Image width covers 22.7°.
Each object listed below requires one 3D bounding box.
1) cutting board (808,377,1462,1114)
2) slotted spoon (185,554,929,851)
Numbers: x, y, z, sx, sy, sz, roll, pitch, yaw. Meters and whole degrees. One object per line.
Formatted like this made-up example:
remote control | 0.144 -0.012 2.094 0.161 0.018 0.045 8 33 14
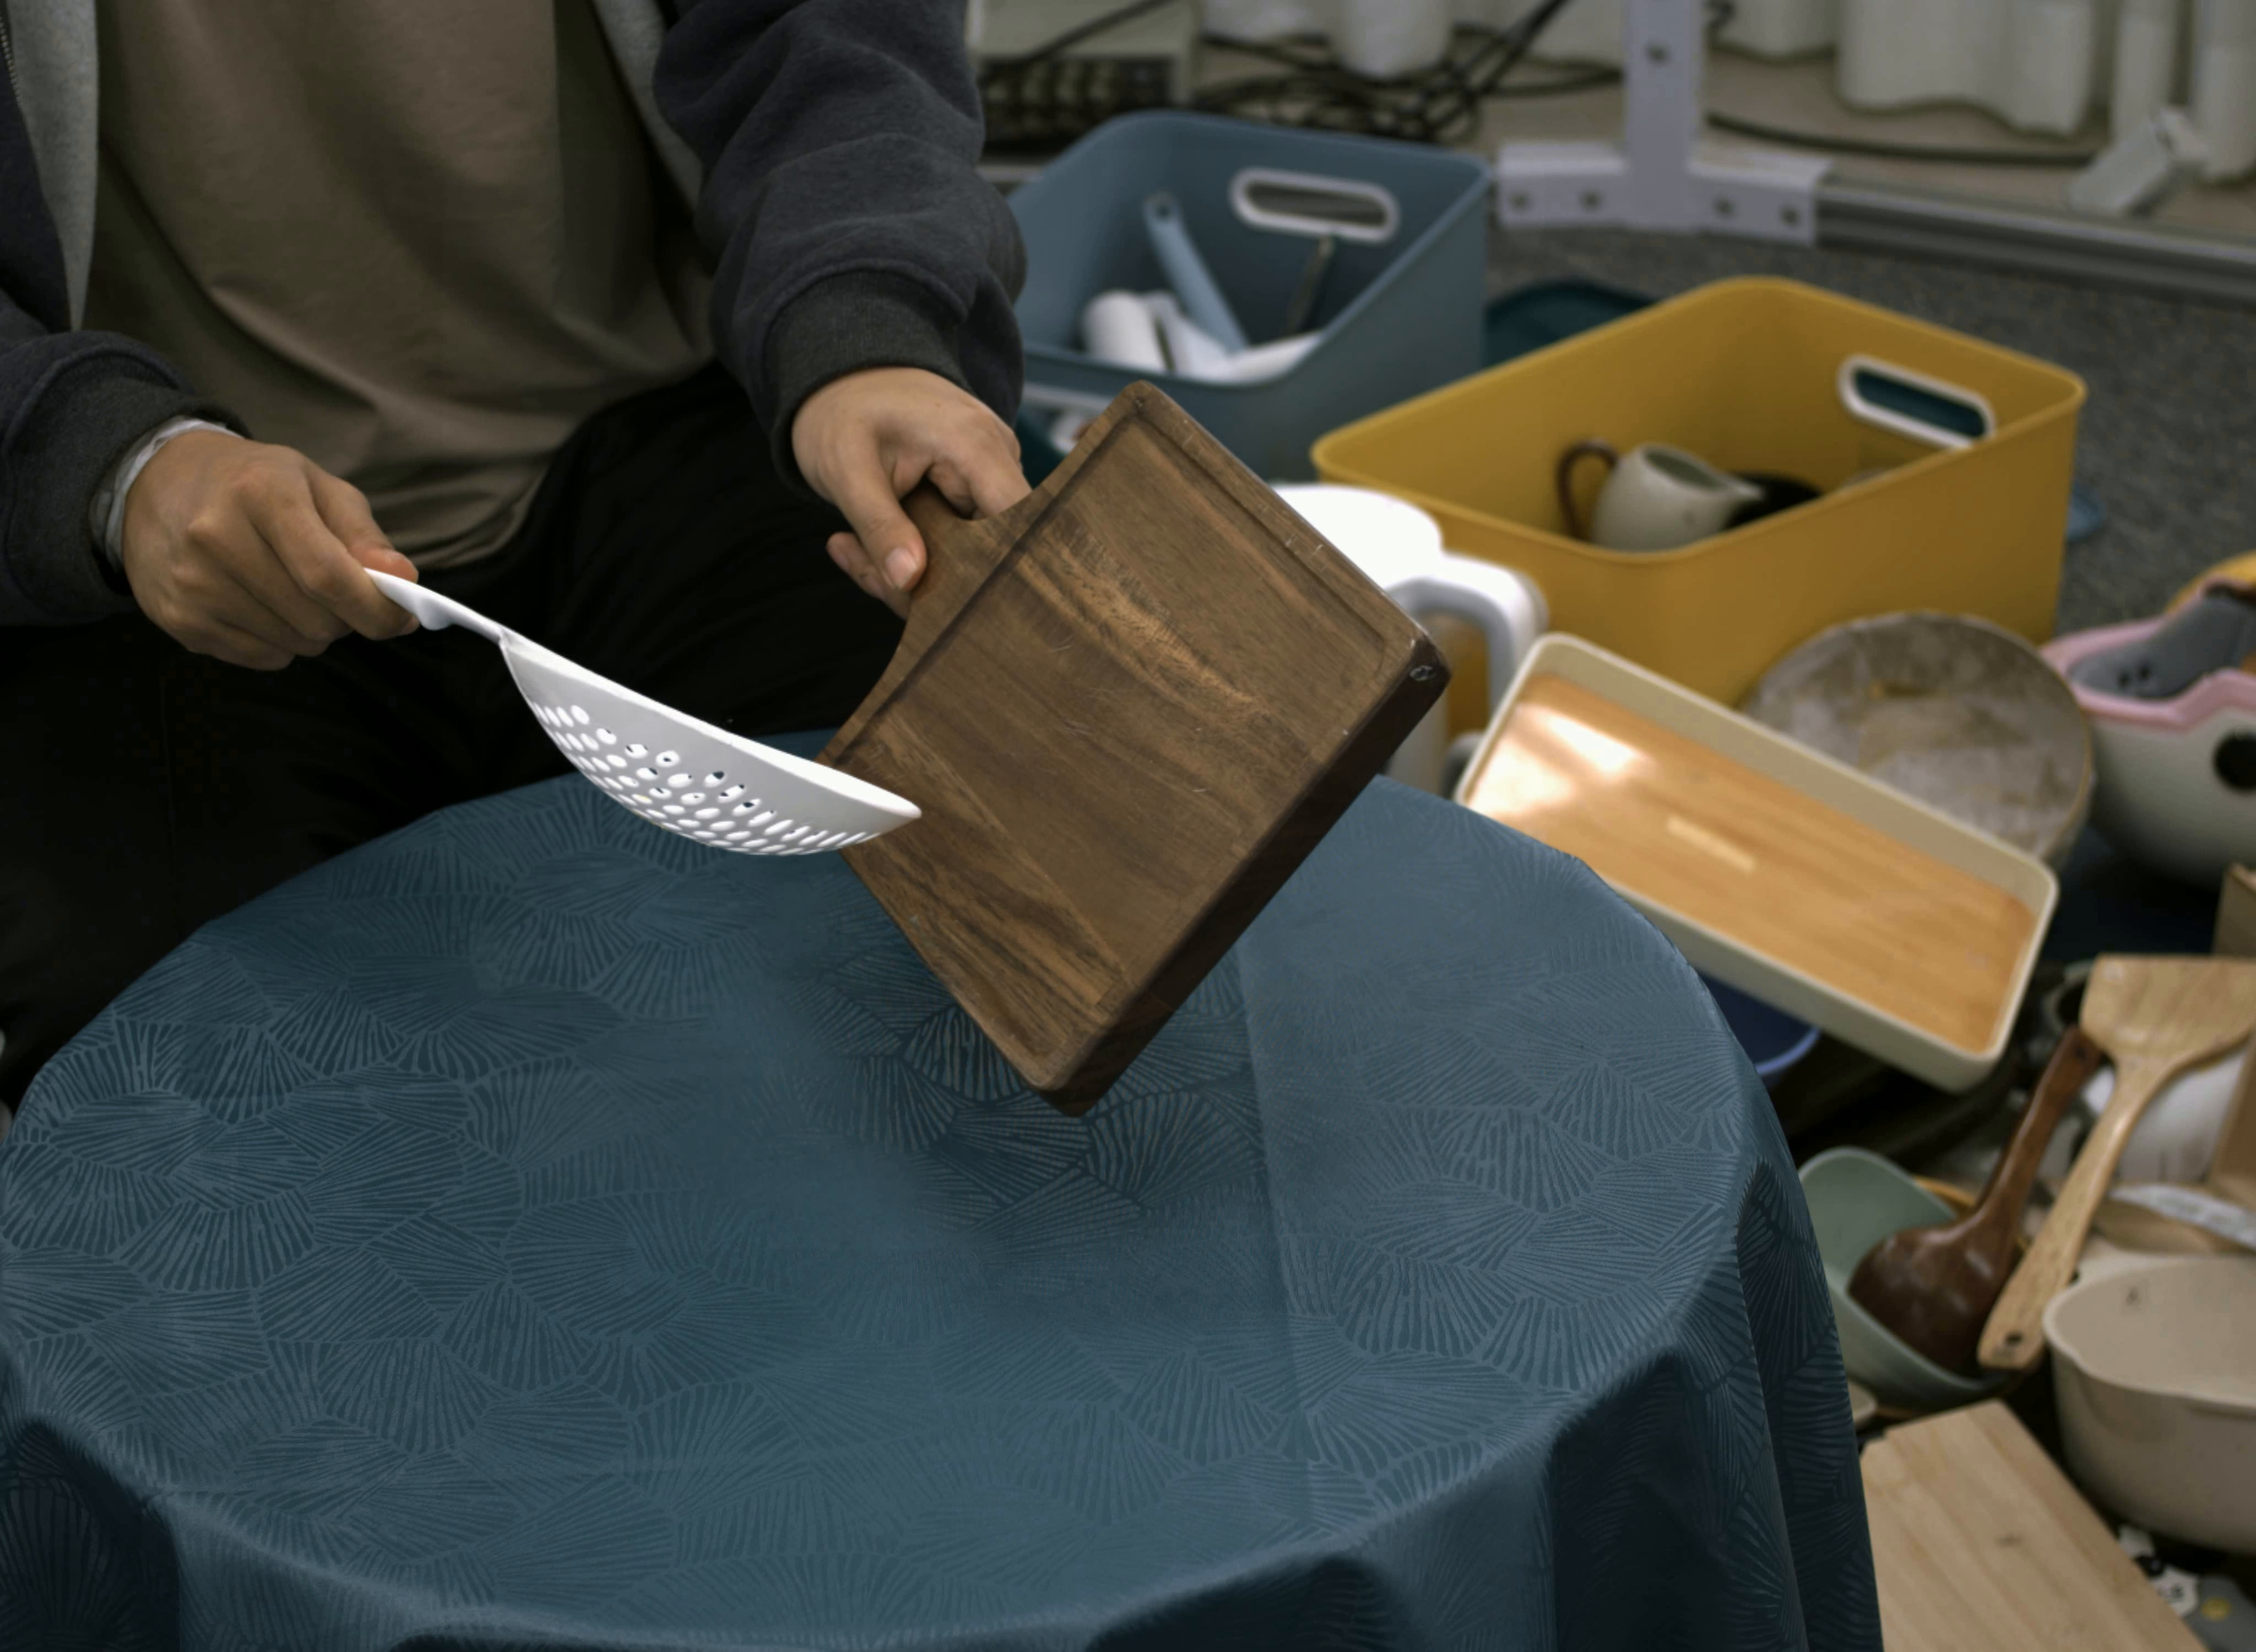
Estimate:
cutting board | -0.026 -0.053 1.938 0.201 0.023 0.354 -49 33 3
slotted spoon | -0.208 -0.053 1.906 0.348 0.050 0.136 28 4 43
